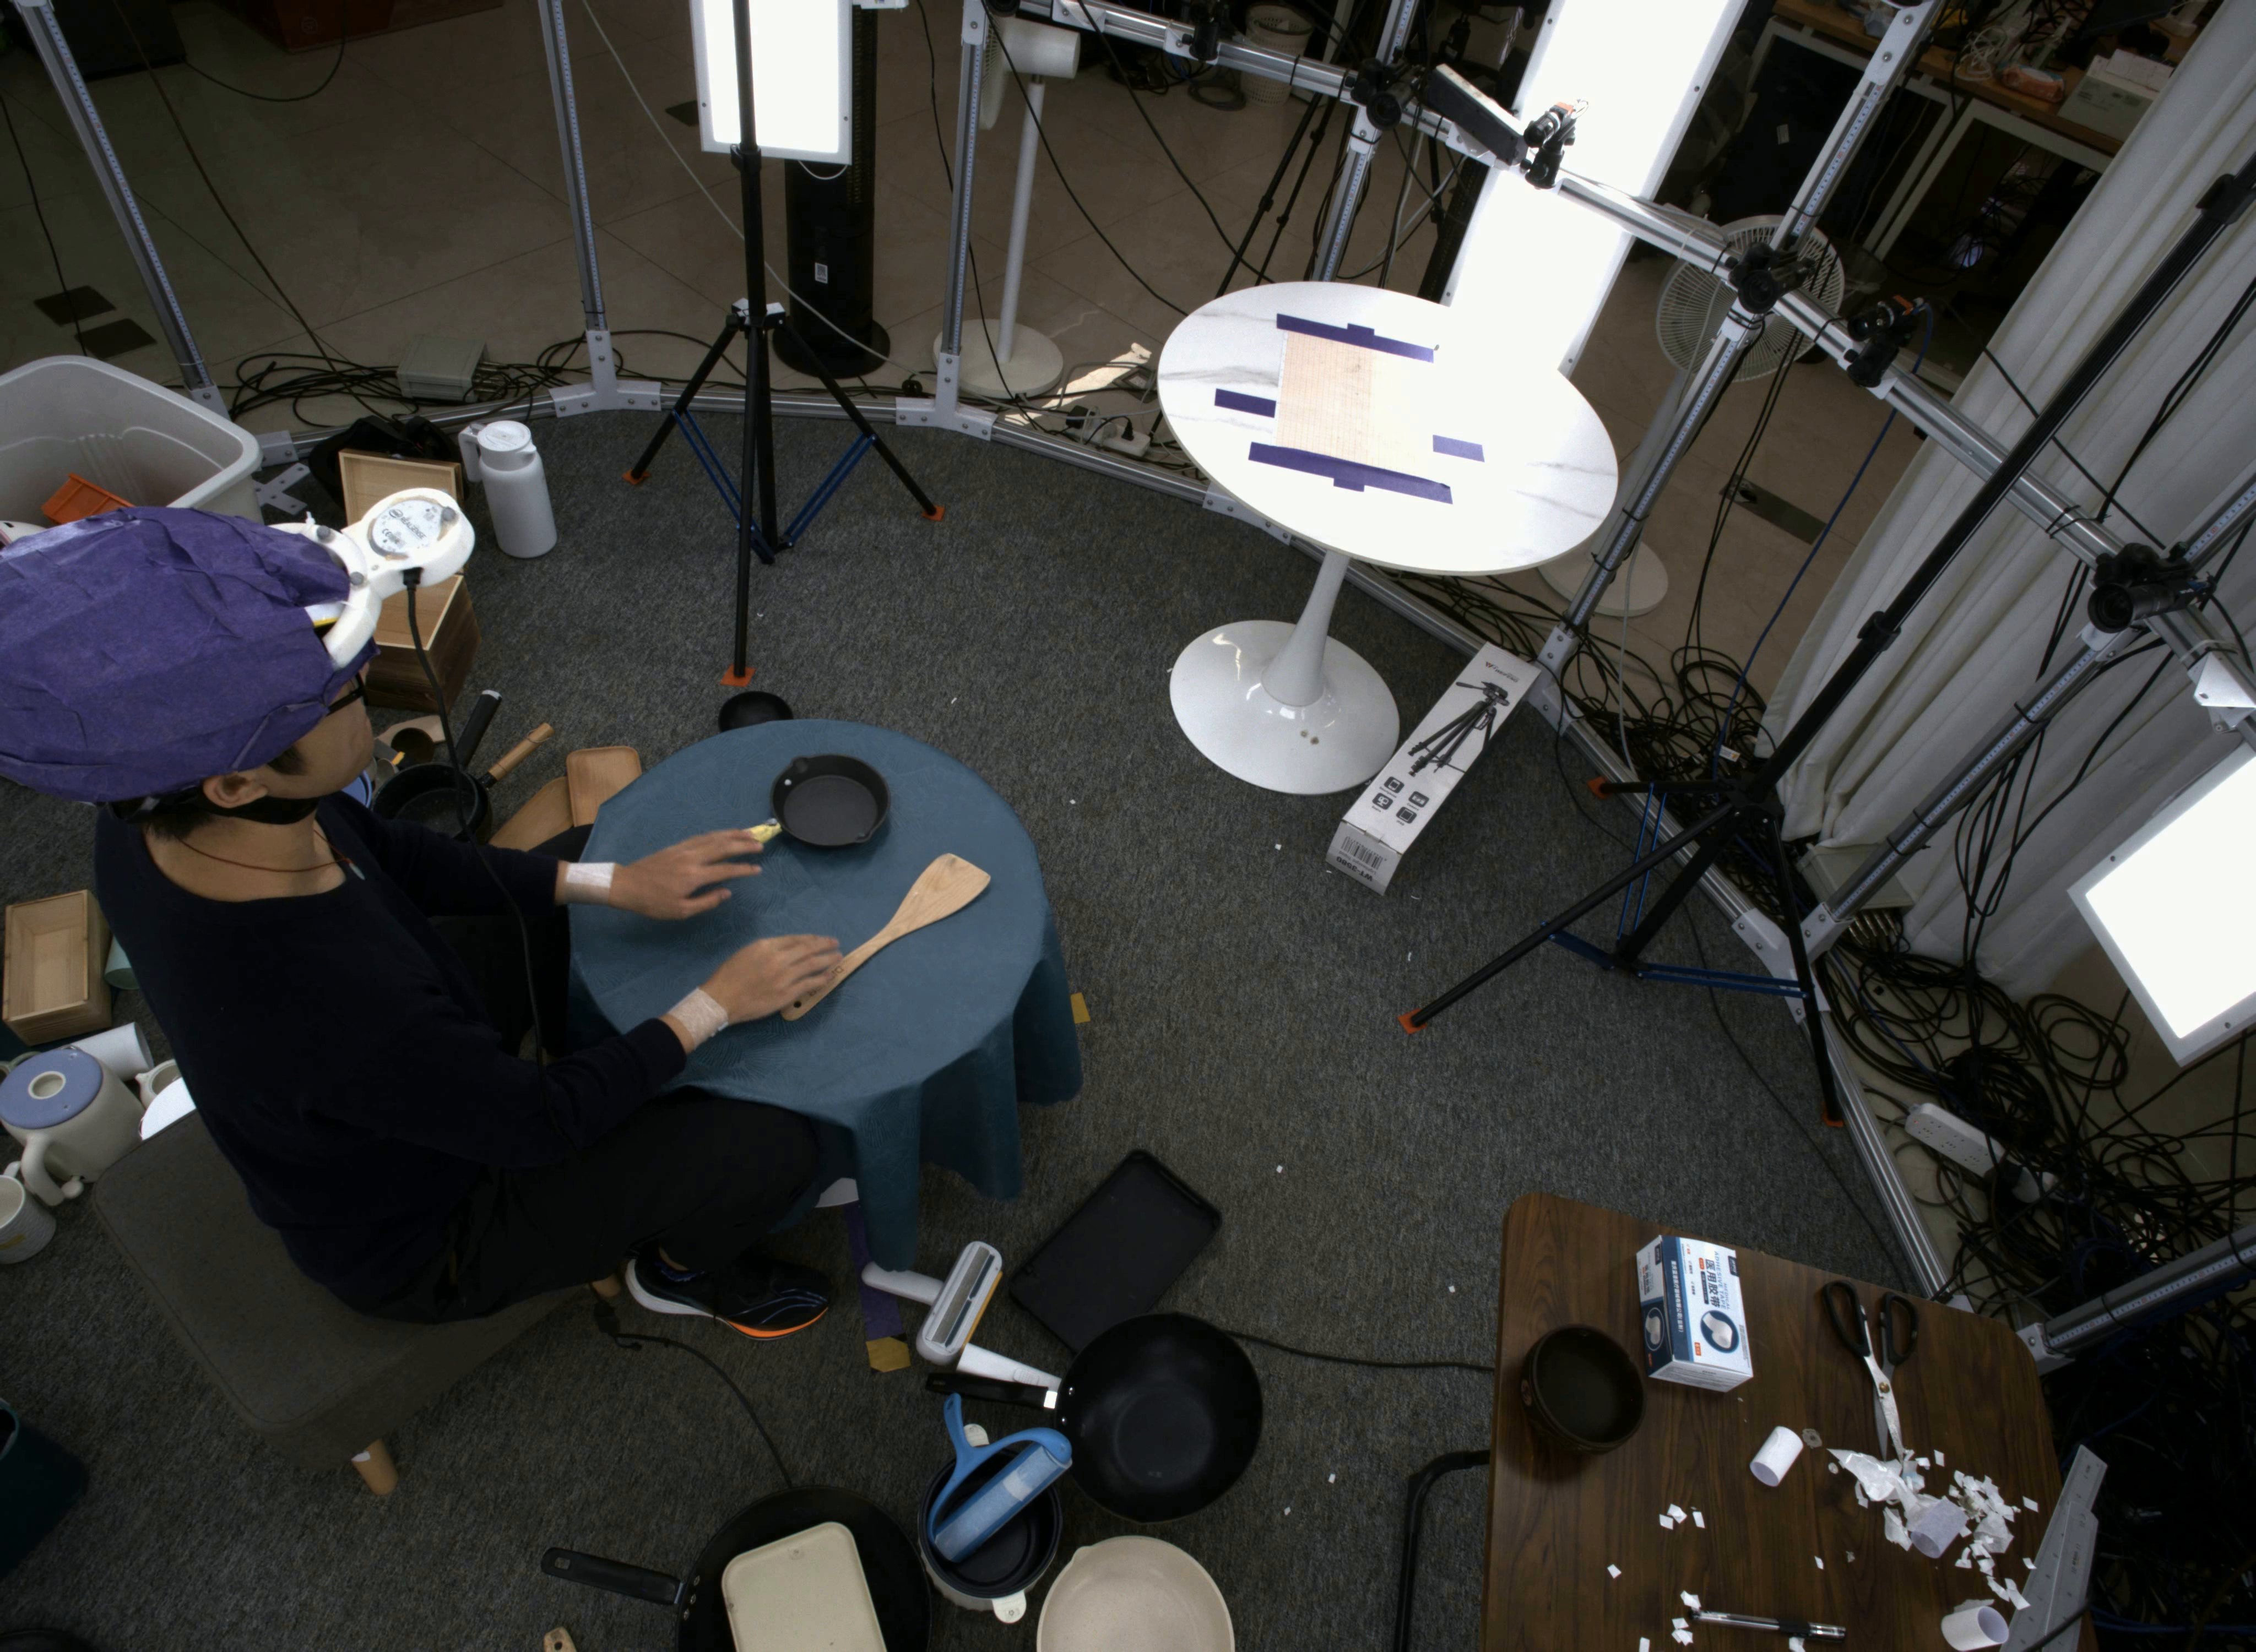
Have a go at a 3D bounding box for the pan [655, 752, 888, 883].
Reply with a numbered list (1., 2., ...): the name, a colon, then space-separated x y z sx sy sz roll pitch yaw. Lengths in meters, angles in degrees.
1. pan: -0.460 0.001 1.671 0.326 0.050 0.165 -28 64 -32

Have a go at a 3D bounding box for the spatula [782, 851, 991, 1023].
1. spatula: -0.307 0.136 1.632 0.078 0.017 0.328 38 53 15
